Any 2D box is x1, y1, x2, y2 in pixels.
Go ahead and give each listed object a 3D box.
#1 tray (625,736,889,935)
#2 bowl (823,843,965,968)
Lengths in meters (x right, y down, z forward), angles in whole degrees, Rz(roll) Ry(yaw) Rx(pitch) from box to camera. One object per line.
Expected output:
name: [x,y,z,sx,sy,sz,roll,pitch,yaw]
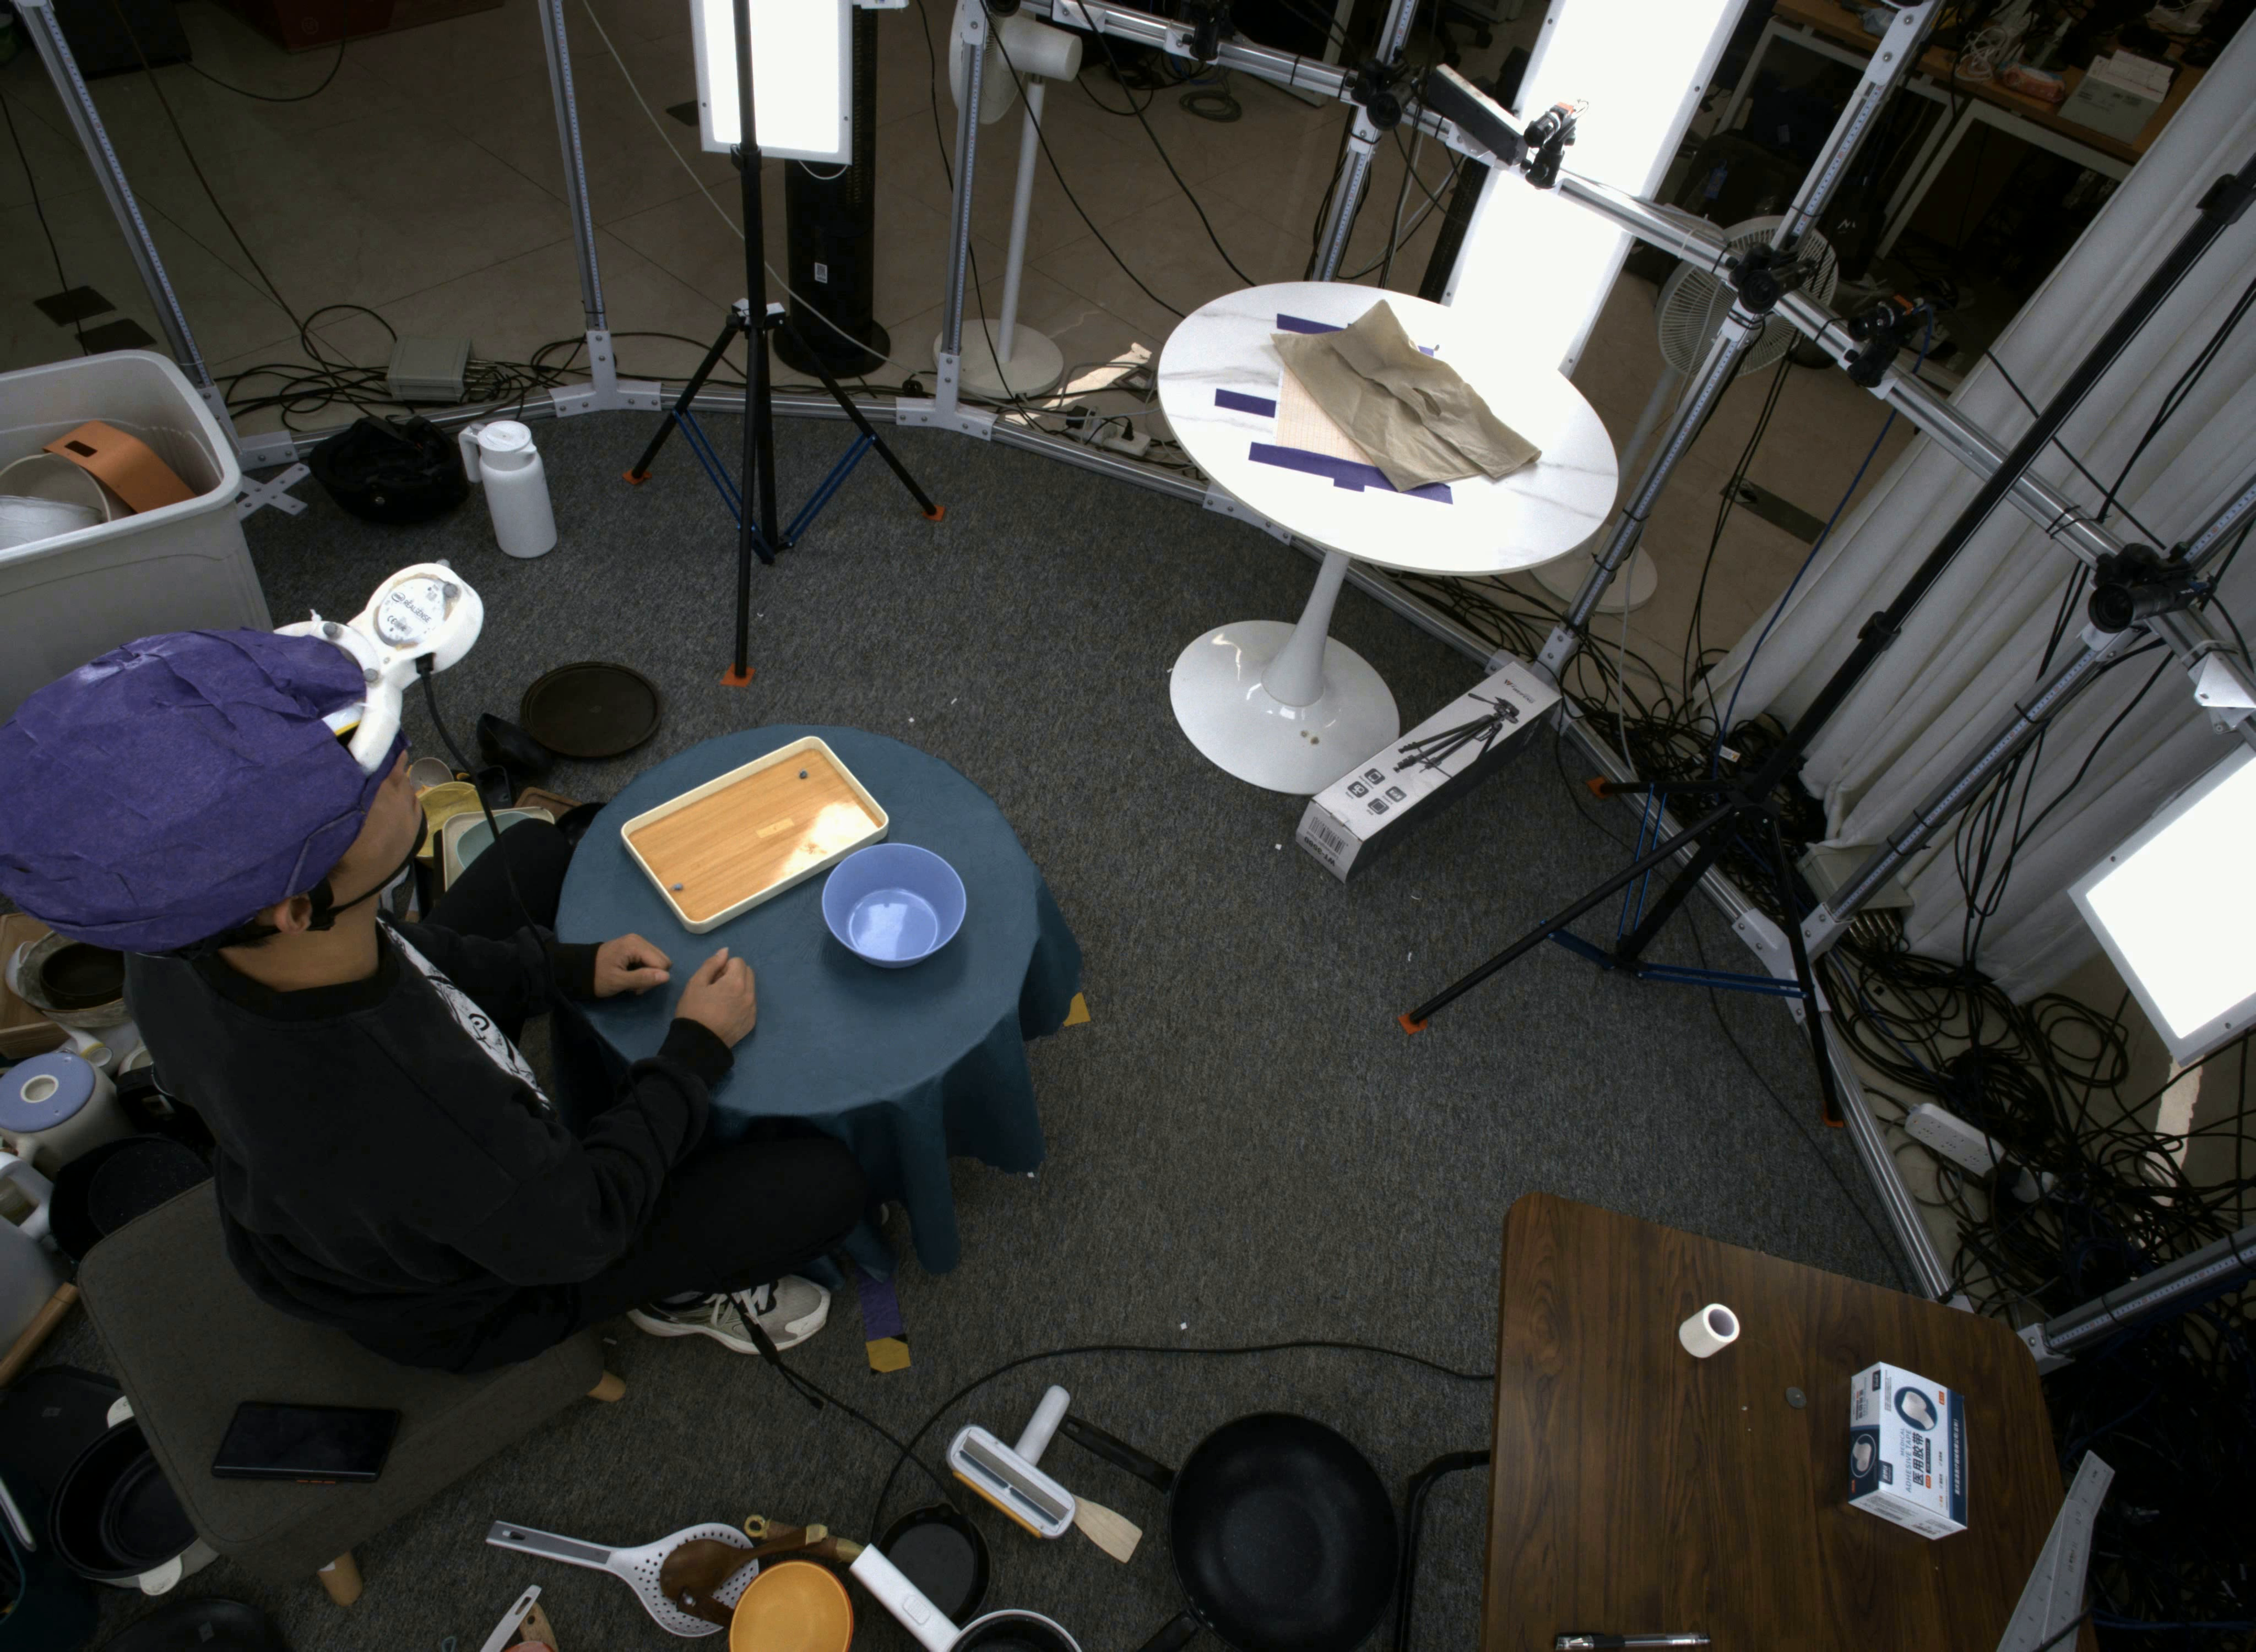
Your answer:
tray: [-0.484,0.005,1.693,0.301,0.028,0.187,-31,66,-31]
bowl: [-0.294,0.110,1.635,0.175,0.072,0.173,8,51,-8]
